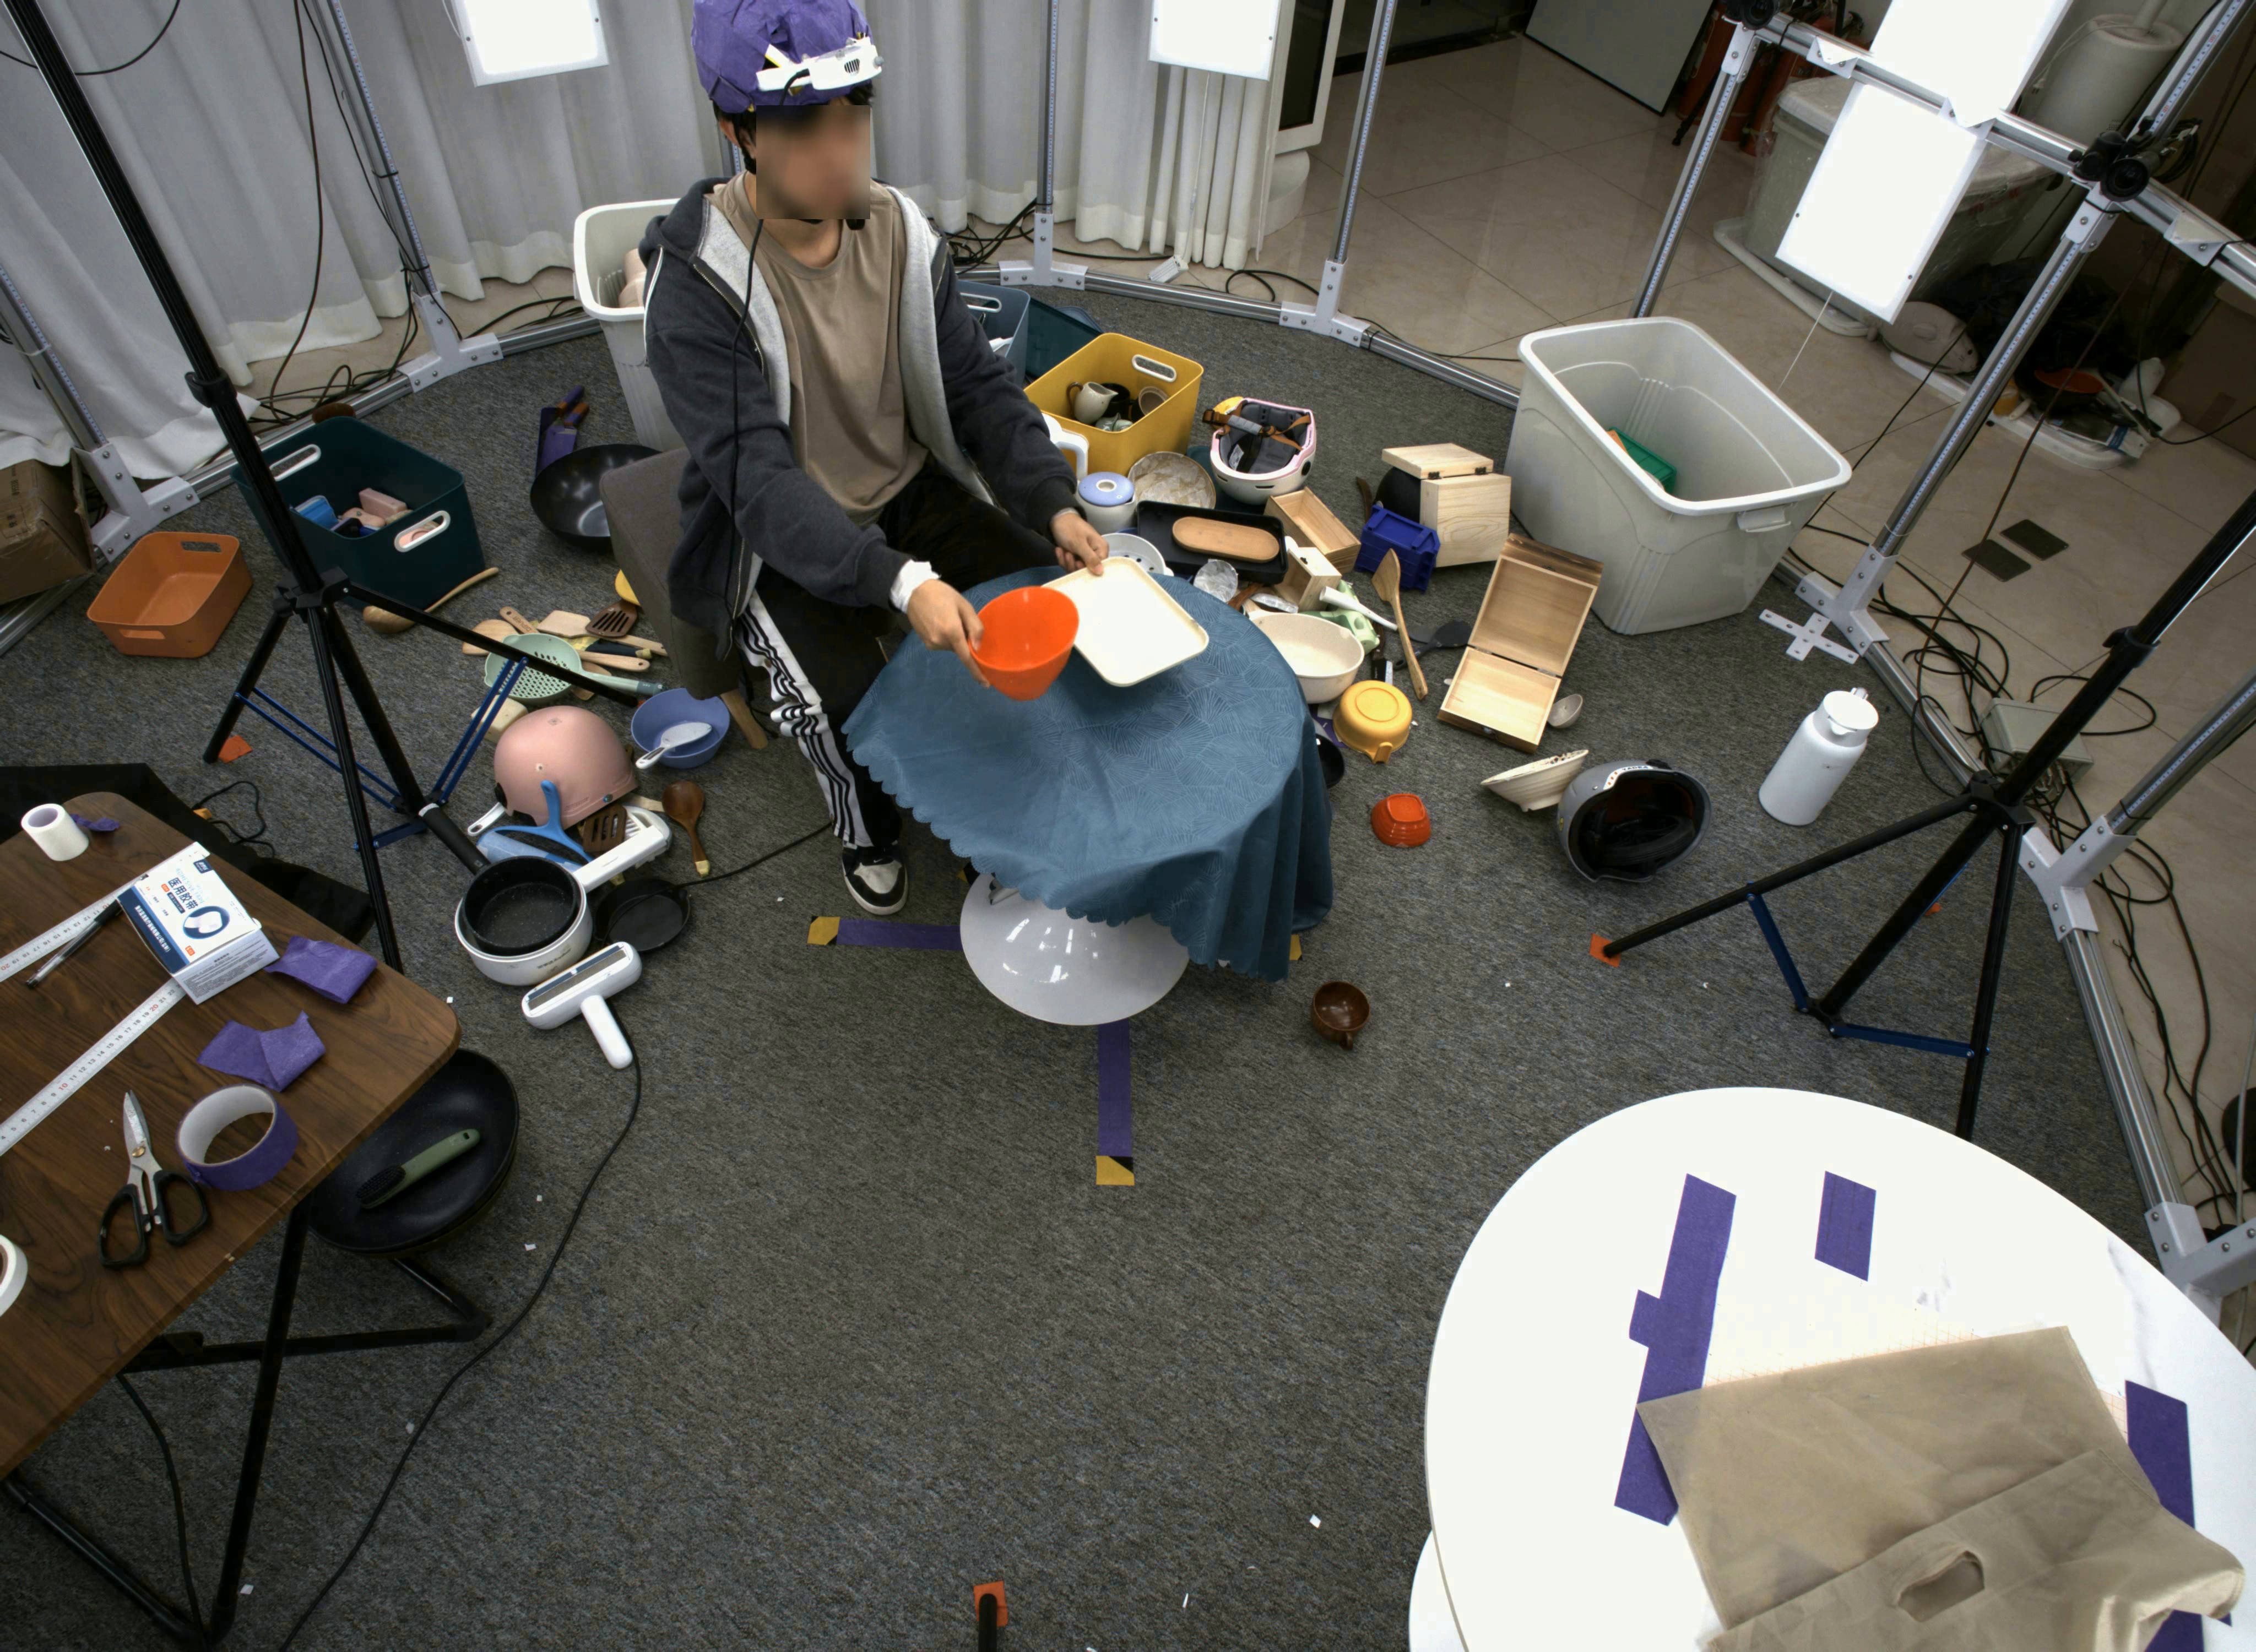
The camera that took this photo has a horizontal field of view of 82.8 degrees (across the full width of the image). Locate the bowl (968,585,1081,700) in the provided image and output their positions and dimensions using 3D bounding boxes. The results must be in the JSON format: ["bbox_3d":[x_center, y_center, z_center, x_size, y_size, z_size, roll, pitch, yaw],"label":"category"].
[{"bbox_3d":[-0.132,-0.232,1.689,0.148,0.102,0.152,-2,46,2],"label":"bowl"}]

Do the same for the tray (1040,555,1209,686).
[{"bbox_3d":[-0.011,-0.294,1.831,0.172,0.017,0.244,-26,54,-20],"label":"tray"}]
